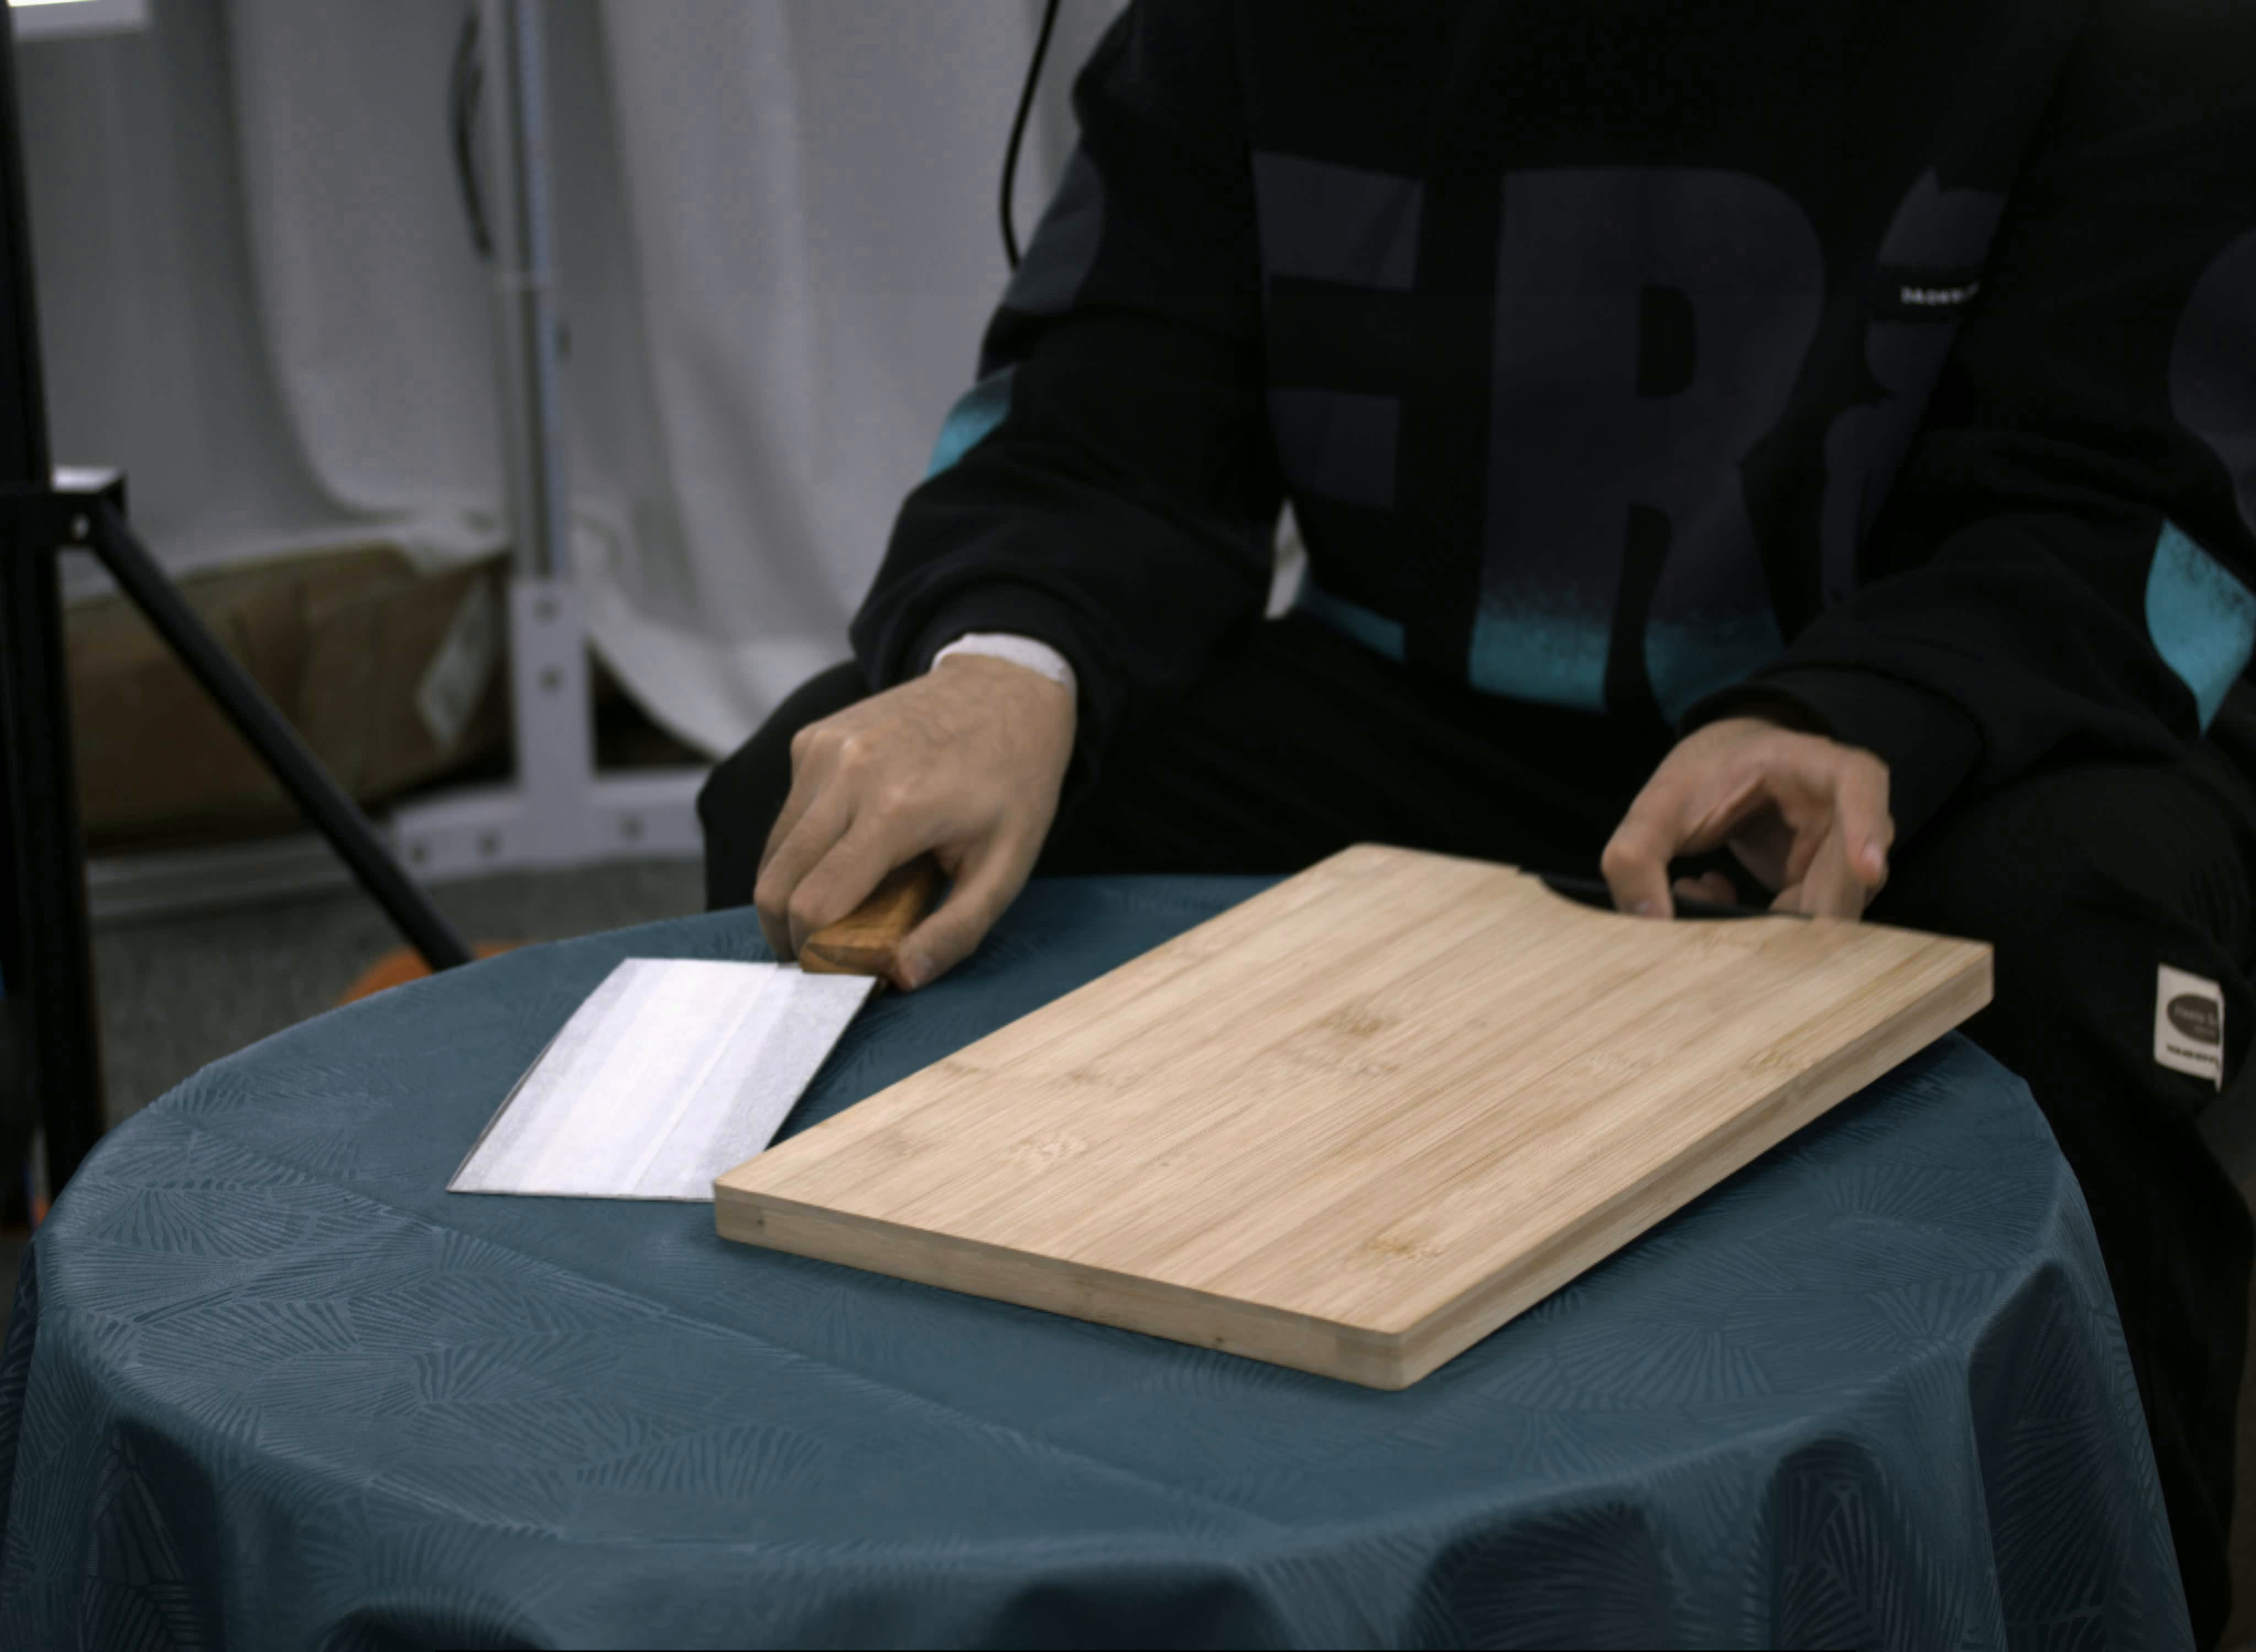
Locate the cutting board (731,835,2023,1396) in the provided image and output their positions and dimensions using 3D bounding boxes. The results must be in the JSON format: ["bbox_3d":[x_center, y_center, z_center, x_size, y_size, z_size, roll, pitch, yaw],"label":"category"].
[{"bbox_3d":[0.080,0.077,1.592,0.256,0.023,0.342,9,23,35],"label":"cutting board"}]

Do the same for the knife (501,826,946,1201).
[{"bbox_3d":[-0.129,0.058,1.715,0.093,0.021,0.304,0,20,12],"label":"knife"}]
